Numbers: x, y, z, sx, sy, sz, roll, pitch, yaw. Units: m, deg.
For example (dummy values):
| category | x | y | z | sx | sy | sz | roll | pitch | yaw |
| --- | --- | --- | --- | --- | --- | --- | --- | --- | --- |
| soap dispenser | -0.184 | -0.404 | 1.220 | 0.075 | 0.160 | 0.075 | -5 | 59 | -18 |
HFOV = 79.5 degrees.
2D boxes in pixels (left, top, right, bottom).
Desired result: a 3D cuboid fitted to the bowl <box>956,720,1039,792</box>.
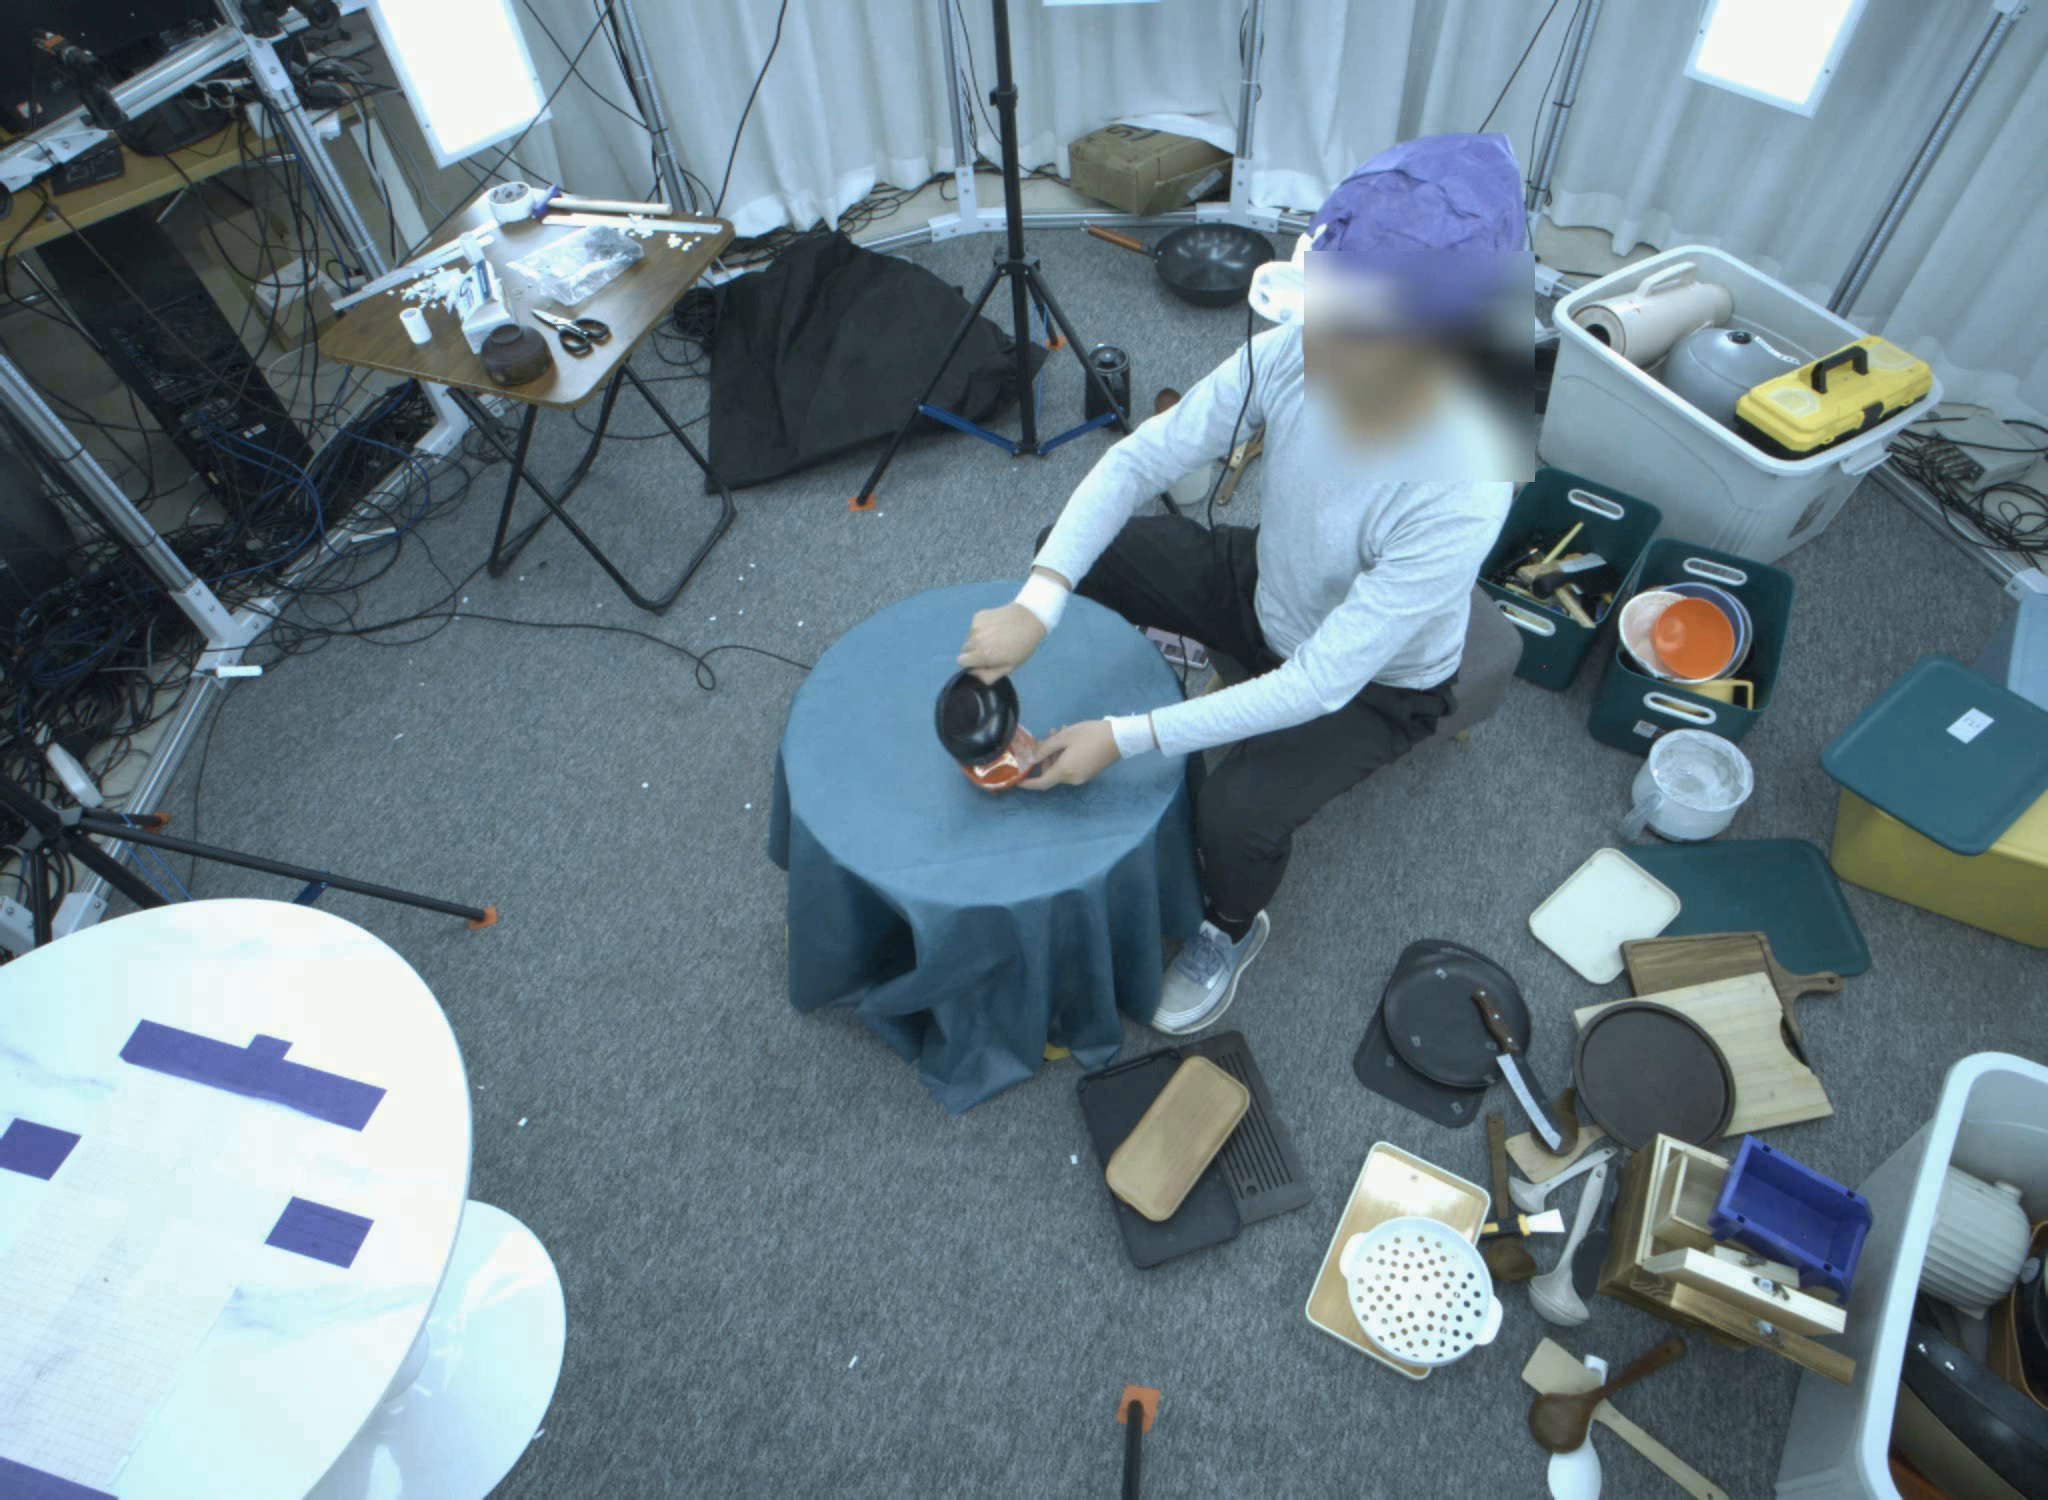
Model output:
| category | x | y | z | sx | sy | sz | roll | pitch | yaw |
| --- | --- | --- | --- | --- | --- | --- | --- | --- | --- |
| bowl | -0.036 | 0.014 | 1.753 | 0.119 | 0.052 | 0.117 | -1 | 54 | 3 |

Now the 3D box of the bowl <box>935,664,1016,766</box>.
| category | x | y | z | sx | sy | sz | roll | pitch | yaw |
| --- | --- | --- | --- | --- | --- | --- | --- | --- | --- |
| bowl | -0.076 | -0.050 | 1.696 | 0.048 | 0.143 | 0.140 | 8 | 51 | 41 |
